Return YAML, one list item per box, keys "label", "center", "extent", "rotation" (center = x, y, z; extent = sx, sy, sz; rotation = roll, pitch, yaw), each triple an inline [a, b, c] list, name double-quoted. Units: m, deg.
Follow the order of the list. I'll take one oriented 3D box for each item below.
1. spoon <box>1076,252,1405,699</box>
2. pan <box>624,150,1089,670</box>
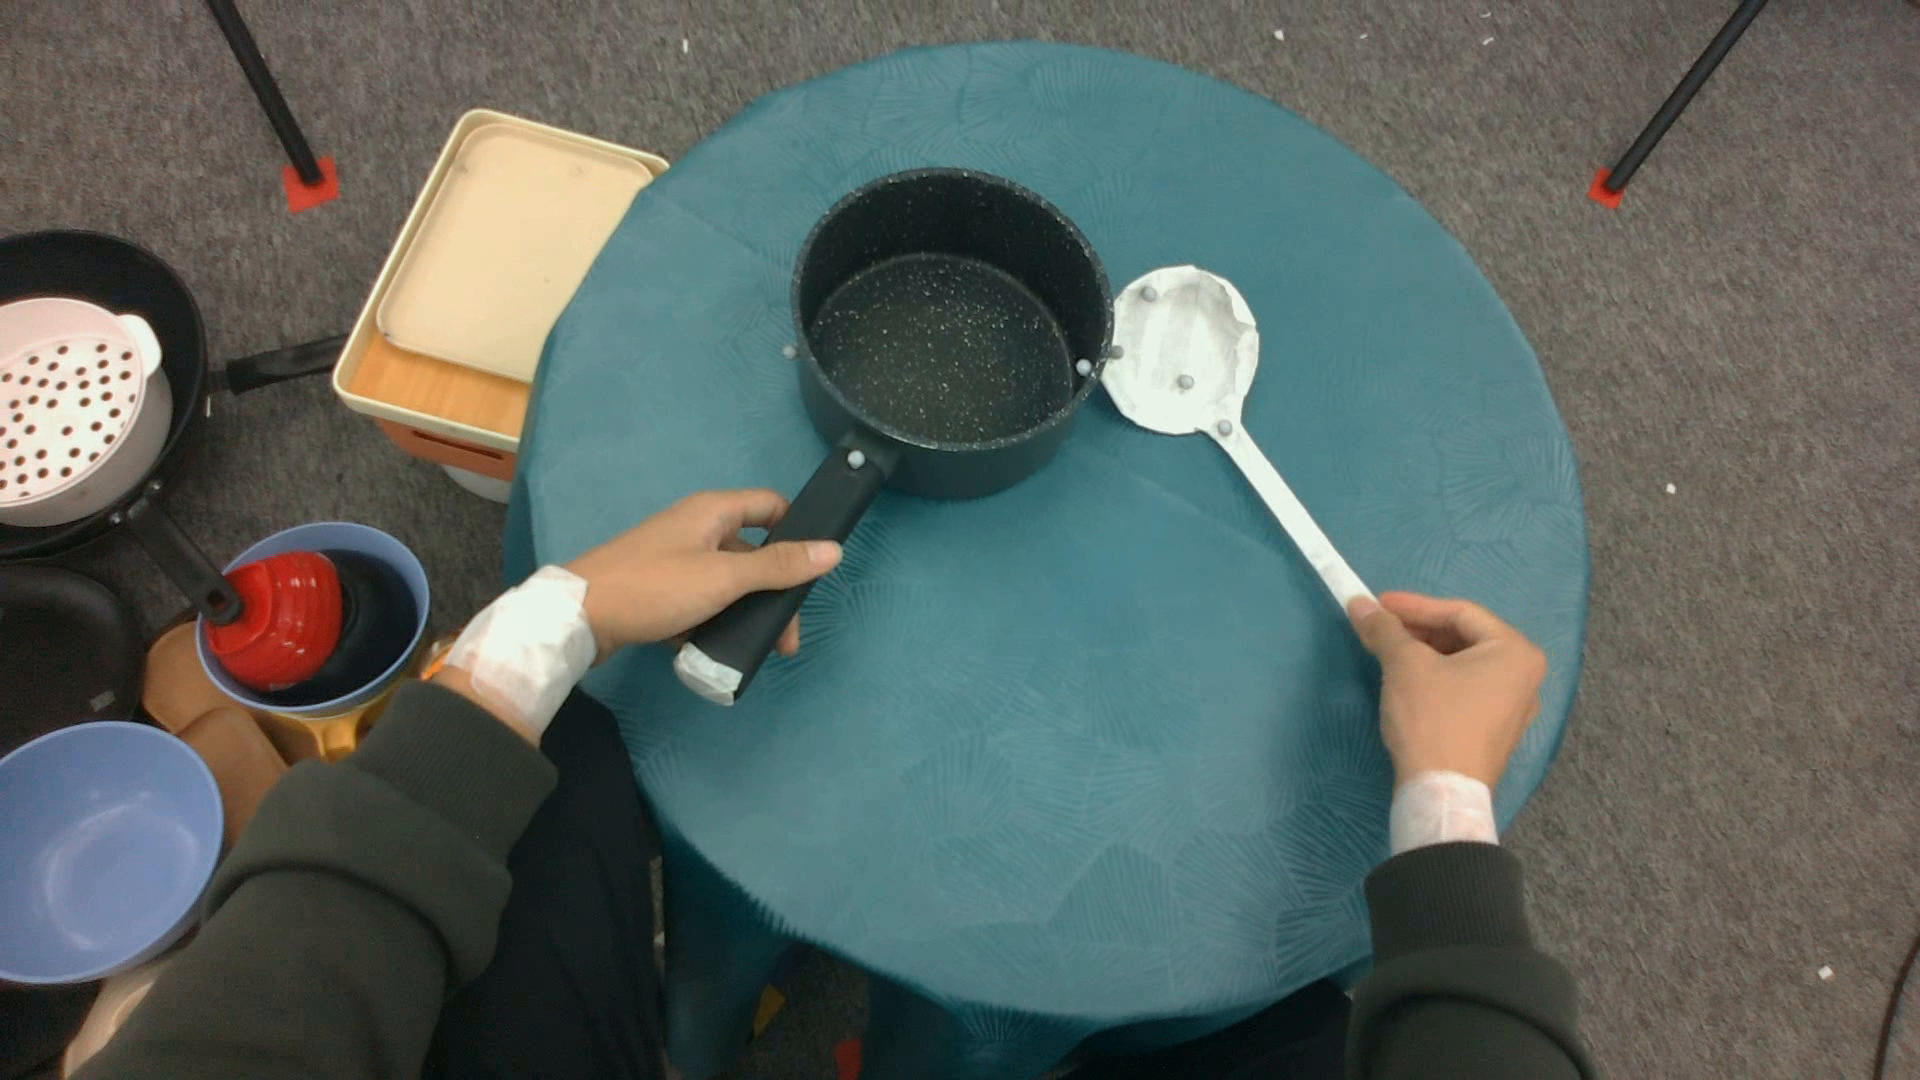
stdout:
- label: "spoon"
  center: [0.155, -0.035, 0.748]
  extent: [0.100, 0.059, 0.278]
  rotation: [-30, 68, 1]
- label: "pan"
  center: [-0.060, -0.059, 0.718]
  extent: [0.172, 0.086, 0.330]
  rotation: [30, 65, 6]
